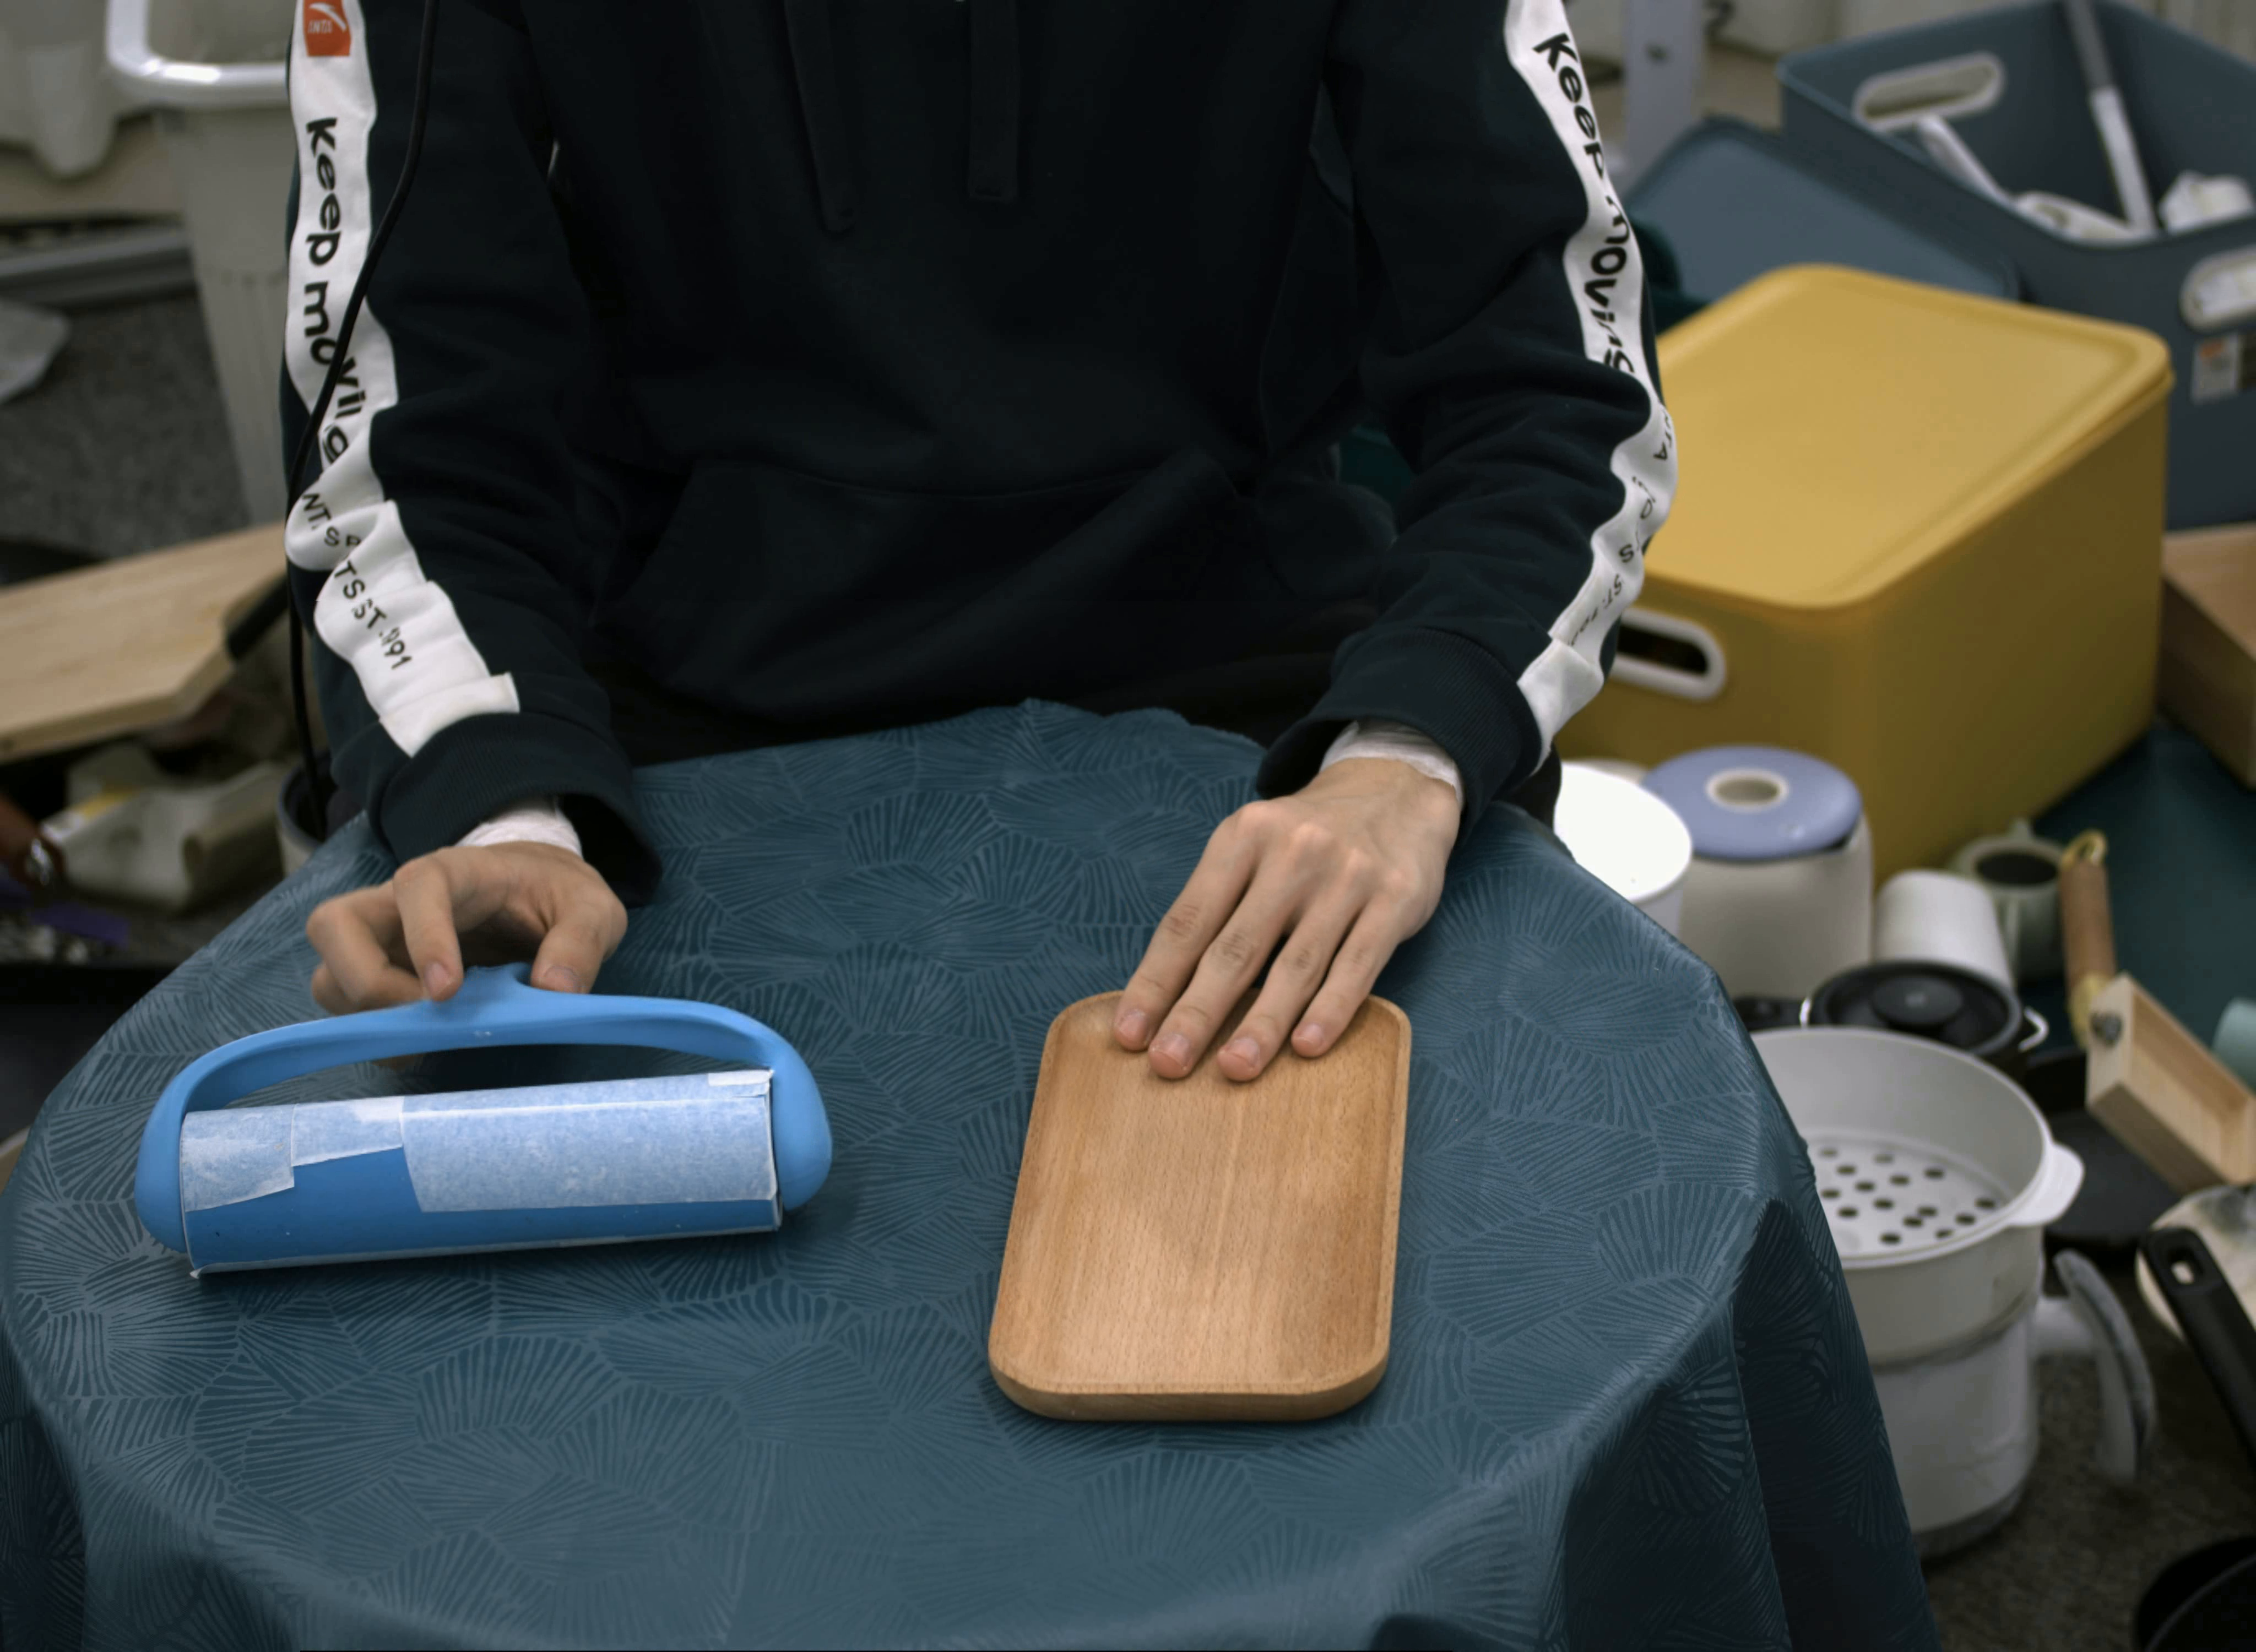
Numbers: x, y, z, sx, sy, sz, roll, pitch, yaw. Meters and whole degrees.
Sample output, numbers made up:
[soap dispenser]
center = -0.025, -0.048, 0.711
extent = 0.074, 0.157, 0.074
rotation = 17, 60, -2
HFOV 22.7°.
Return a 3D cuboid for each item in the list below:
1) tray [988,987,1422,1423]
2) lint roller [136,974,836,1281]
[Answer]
[tray]
center = 0.028, 0.121, 1.840
extent = 0.130, 0.022, 0.255
rotation = 2, 27, 5
[lint roller]
center = -0.216, 0.085, 1.890
extent = 0.228, 0.067, 0.183
rotation = -7, 29, -4
